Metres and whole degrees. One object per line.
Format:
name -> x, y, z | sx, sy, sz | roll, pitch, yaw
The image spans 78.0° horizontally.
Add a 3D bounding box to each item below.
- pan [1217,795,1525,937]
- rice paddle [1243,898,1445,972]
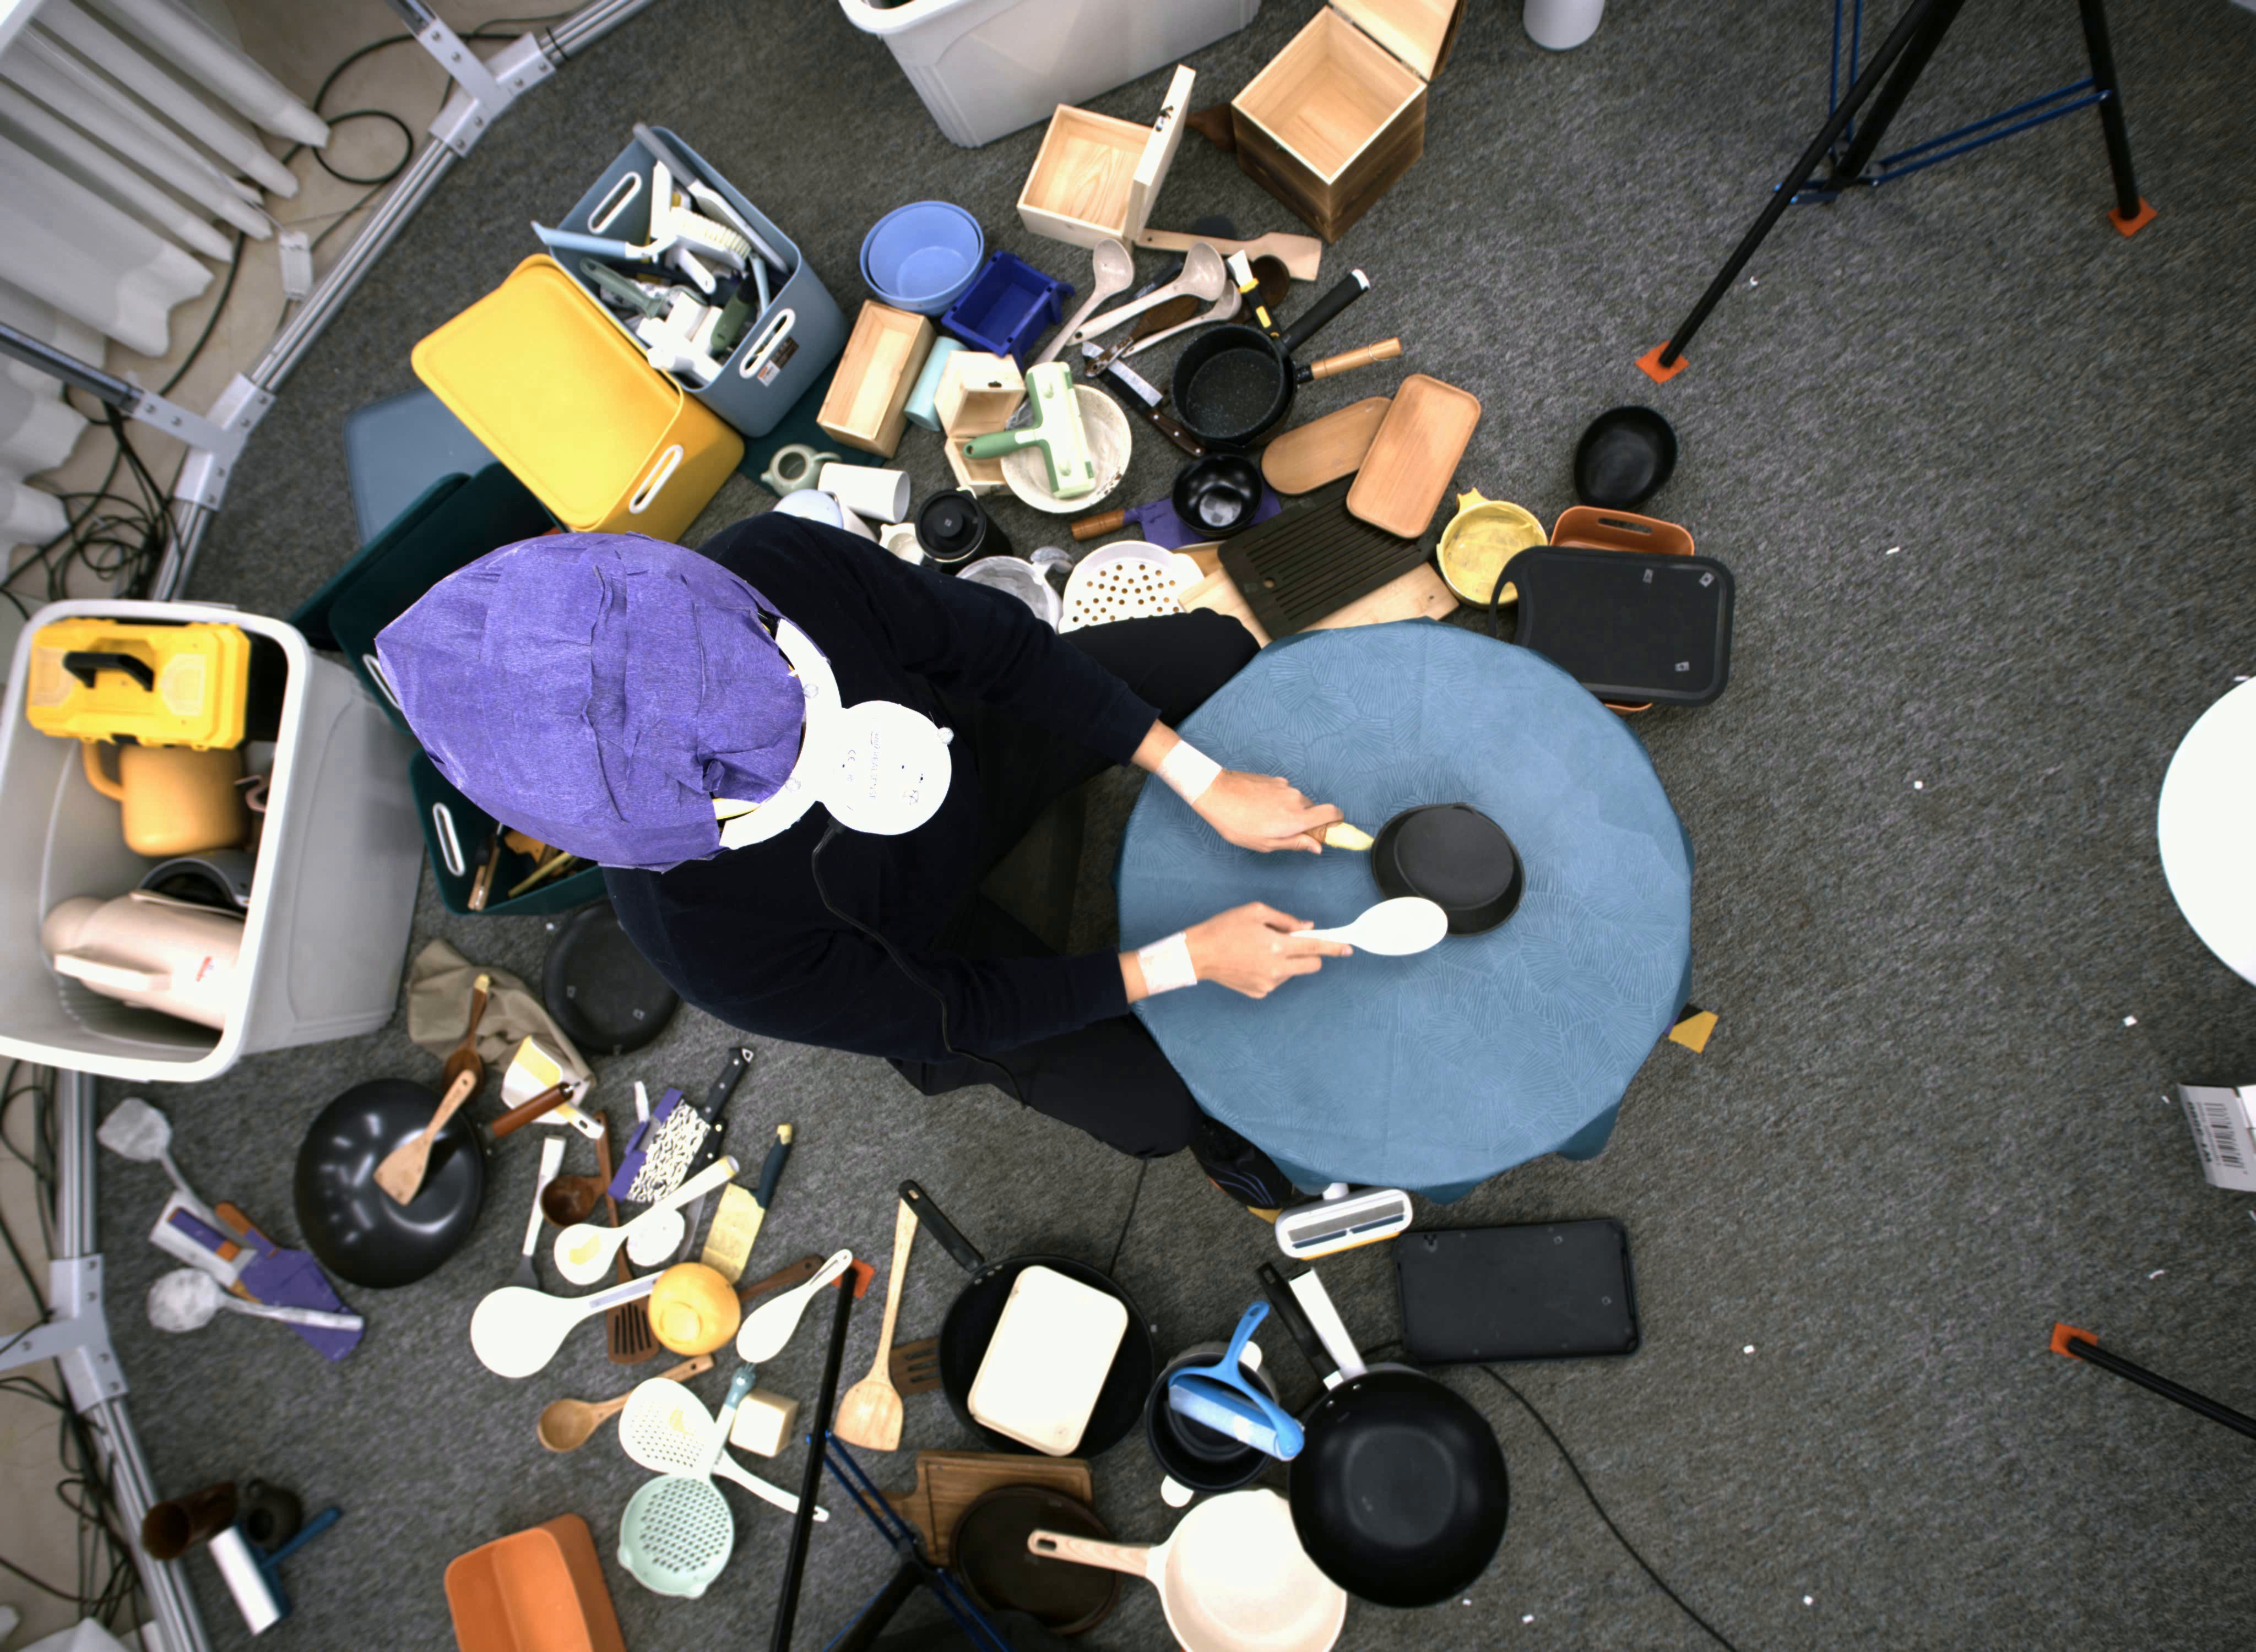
pan -> 0.248, 0.014, 1.416 | 0.324, 0.048, 0.173 | 20, 130, 15
rice paddle -> 0.219, 0.112, 1.403 | 0.206, 0.030, 0.067 | -12, 54, 10
